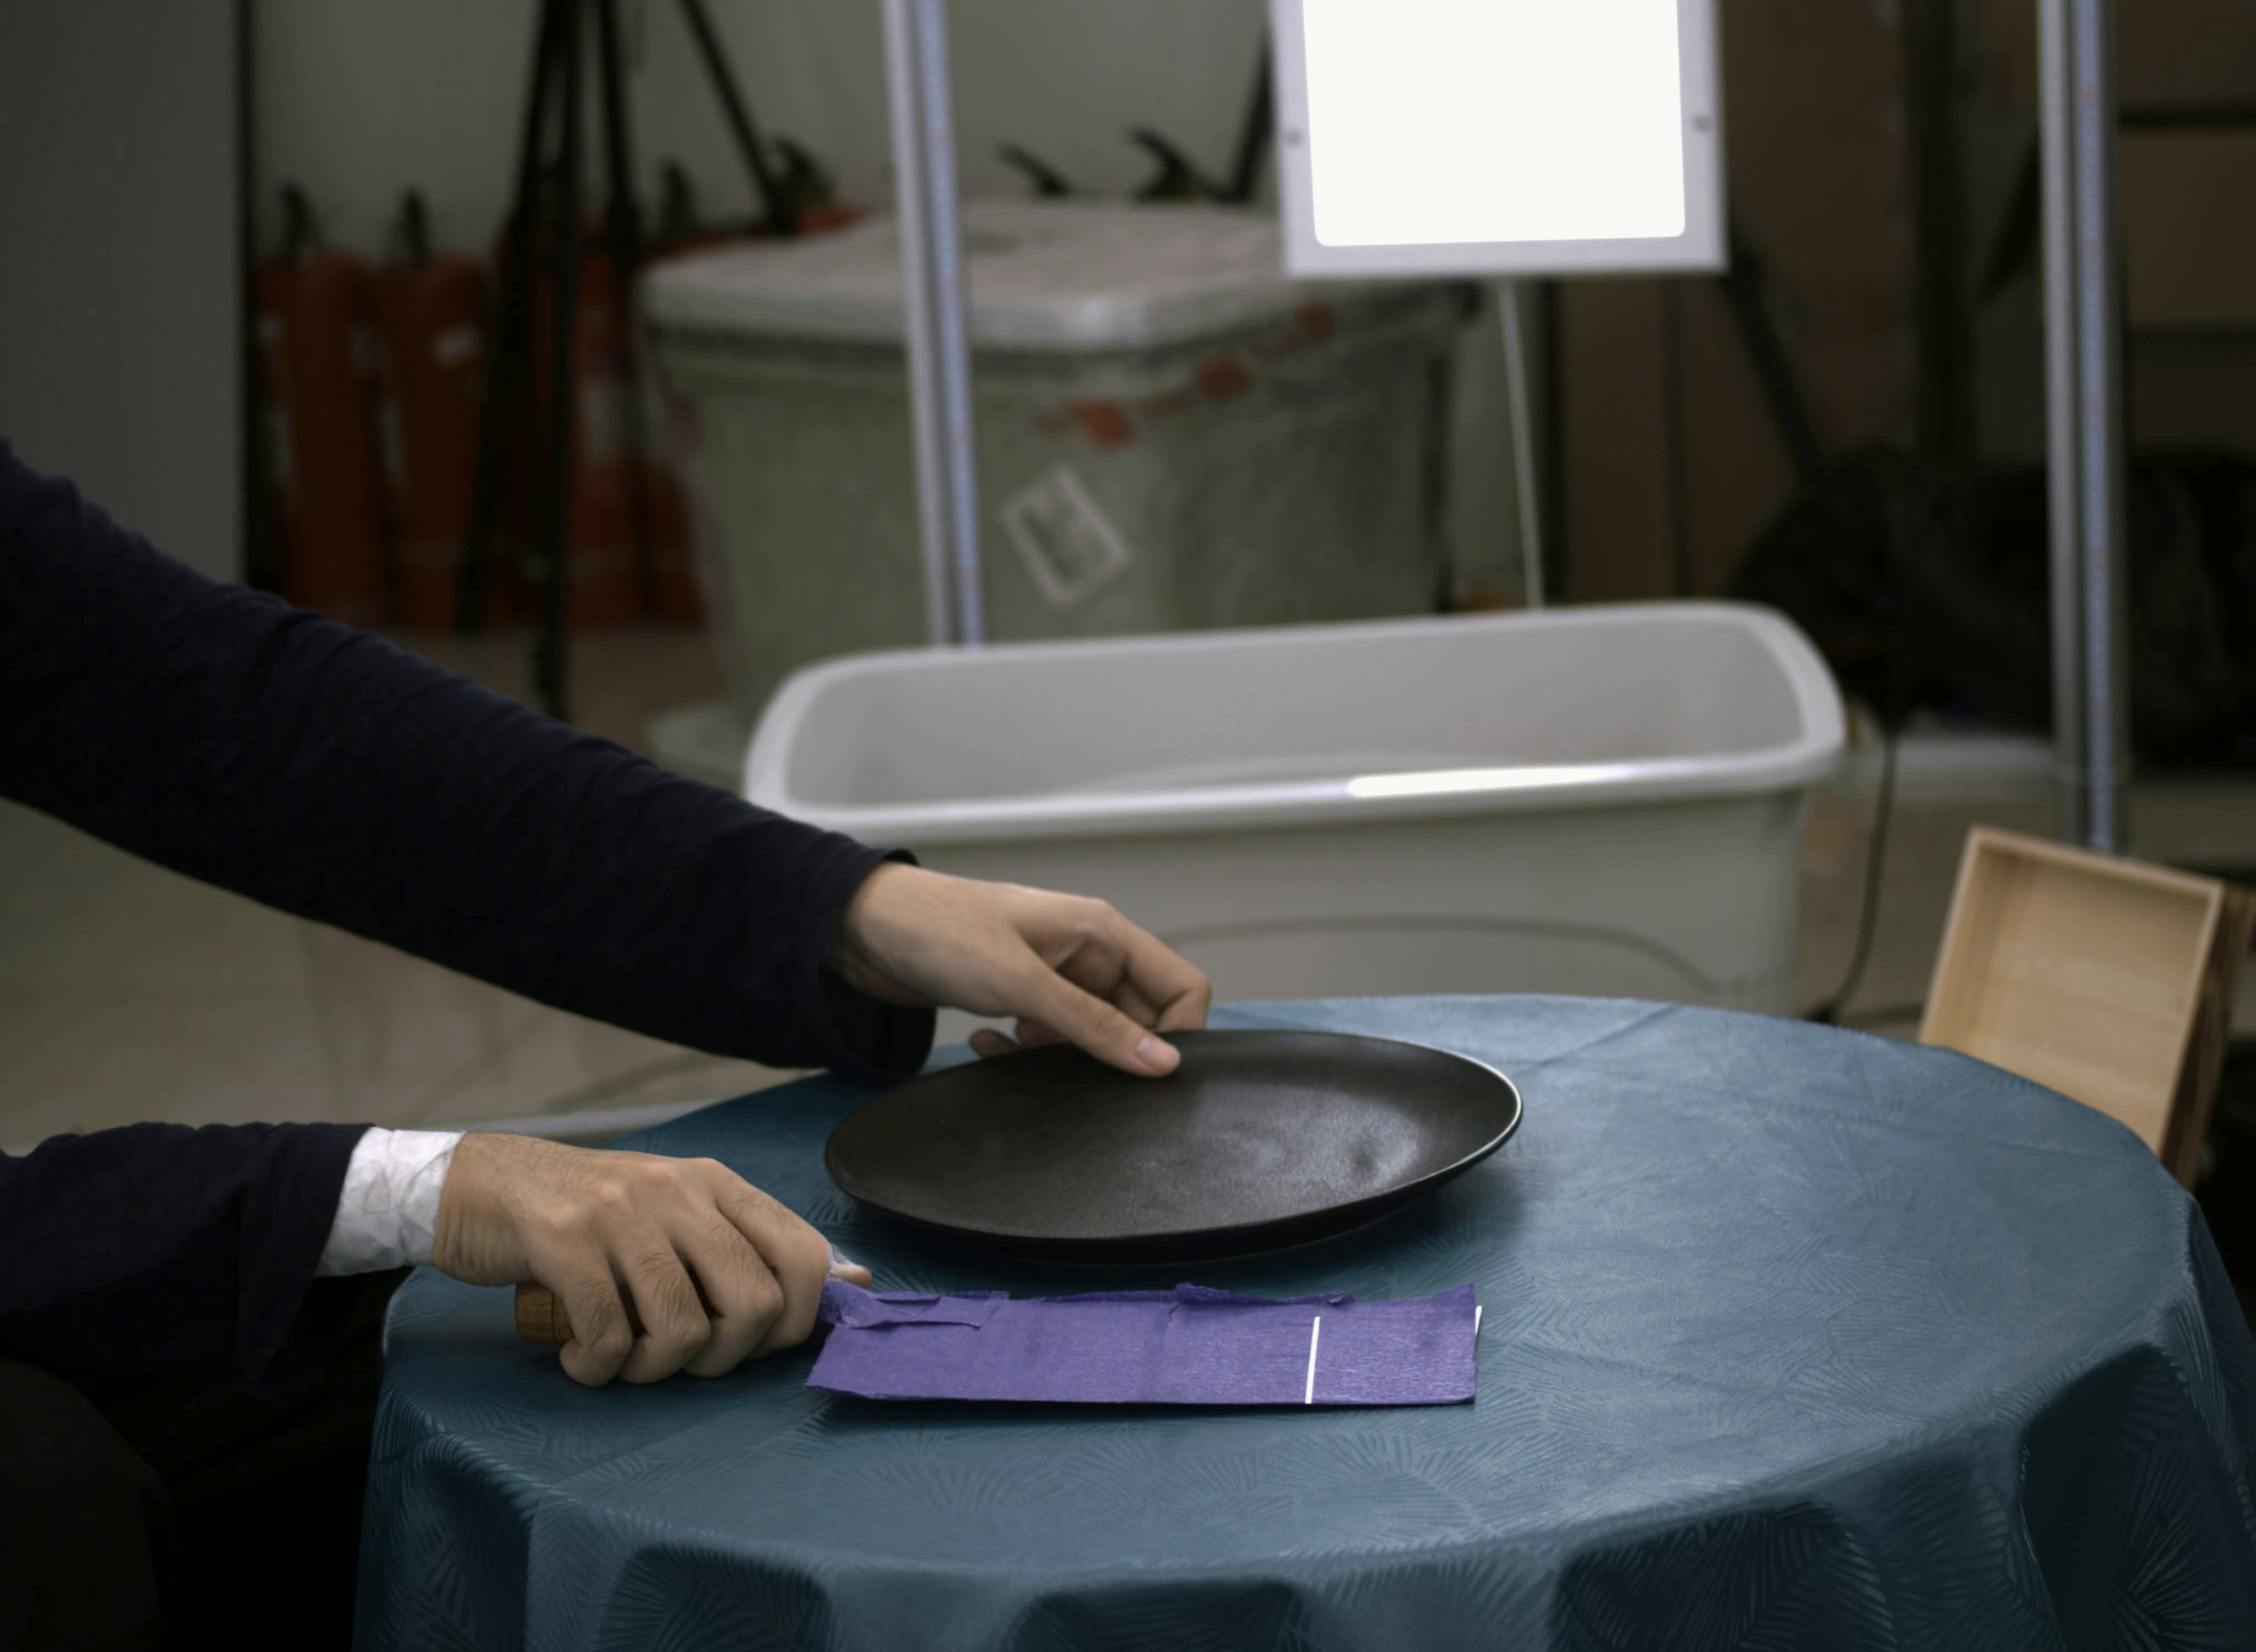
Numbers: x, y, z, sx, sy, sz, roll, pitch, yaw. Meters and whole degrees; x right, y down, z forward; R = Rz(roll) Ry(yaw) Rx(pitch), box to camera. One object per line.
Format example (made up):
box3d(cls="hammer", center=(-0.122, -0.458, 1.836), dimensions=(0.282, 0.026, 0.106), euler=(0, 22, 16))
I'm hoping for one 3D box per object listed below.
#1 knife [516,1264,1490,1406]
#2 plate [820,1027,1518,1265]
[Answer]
box3d(cls="knife", center=(-0.044, 0.159, 1.730), dimensions=(0.316, 0.032, 0.103), euler=(-3, 14, 9))
box3d(cls="plate", center=(0.015, 0.113, 1.905), dimensions=(0.244, 0.023, 0.244), euler=(-5, 14, 0))
